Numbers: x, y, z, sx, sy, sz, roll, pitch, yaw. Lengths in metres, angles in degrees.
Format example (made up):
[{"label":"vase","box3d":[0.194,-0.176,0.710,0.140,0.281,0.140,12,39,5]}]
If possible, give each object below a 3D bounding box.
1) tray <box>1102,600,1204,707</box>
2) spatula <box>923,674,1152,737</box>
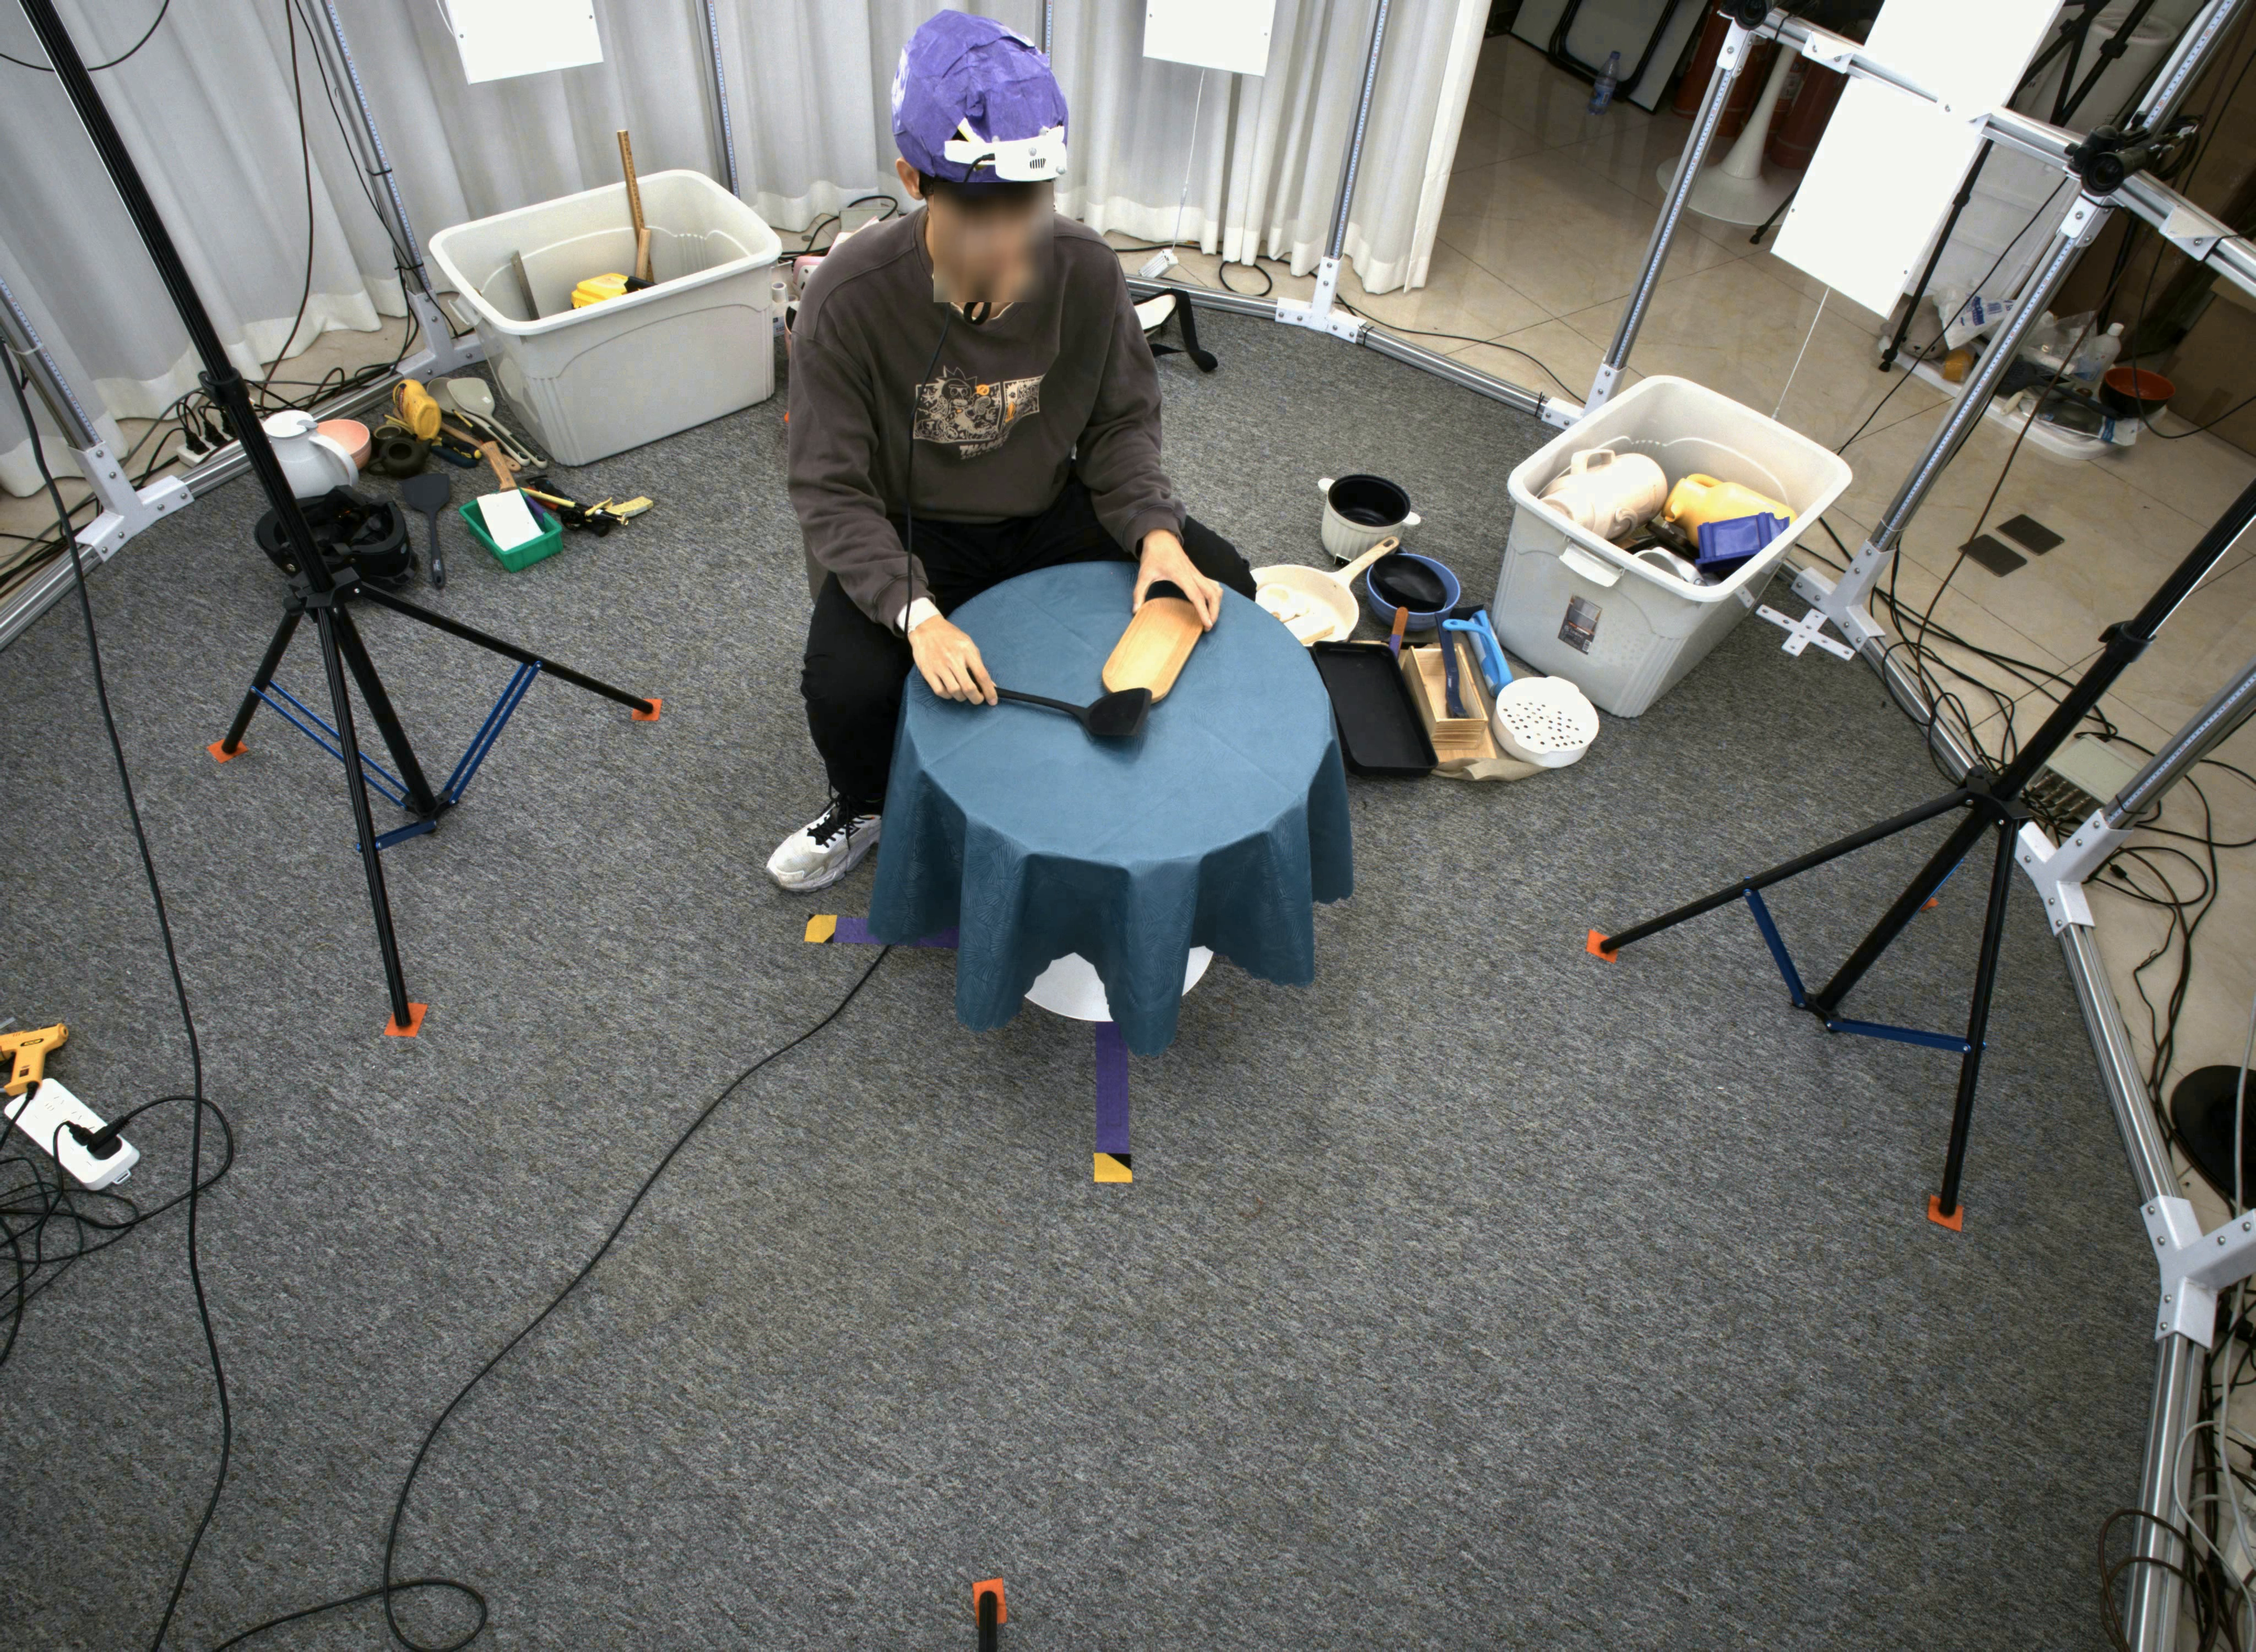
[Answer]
[{"label":"tray","box3d":[0.038,-0.255,1.880,0.102,0.020,0.235,18,51,13]},{"label":"spatula","box3d":[-0.130,-0.181,1.790,0.327,0.039,0.102,14,47,7]}]
